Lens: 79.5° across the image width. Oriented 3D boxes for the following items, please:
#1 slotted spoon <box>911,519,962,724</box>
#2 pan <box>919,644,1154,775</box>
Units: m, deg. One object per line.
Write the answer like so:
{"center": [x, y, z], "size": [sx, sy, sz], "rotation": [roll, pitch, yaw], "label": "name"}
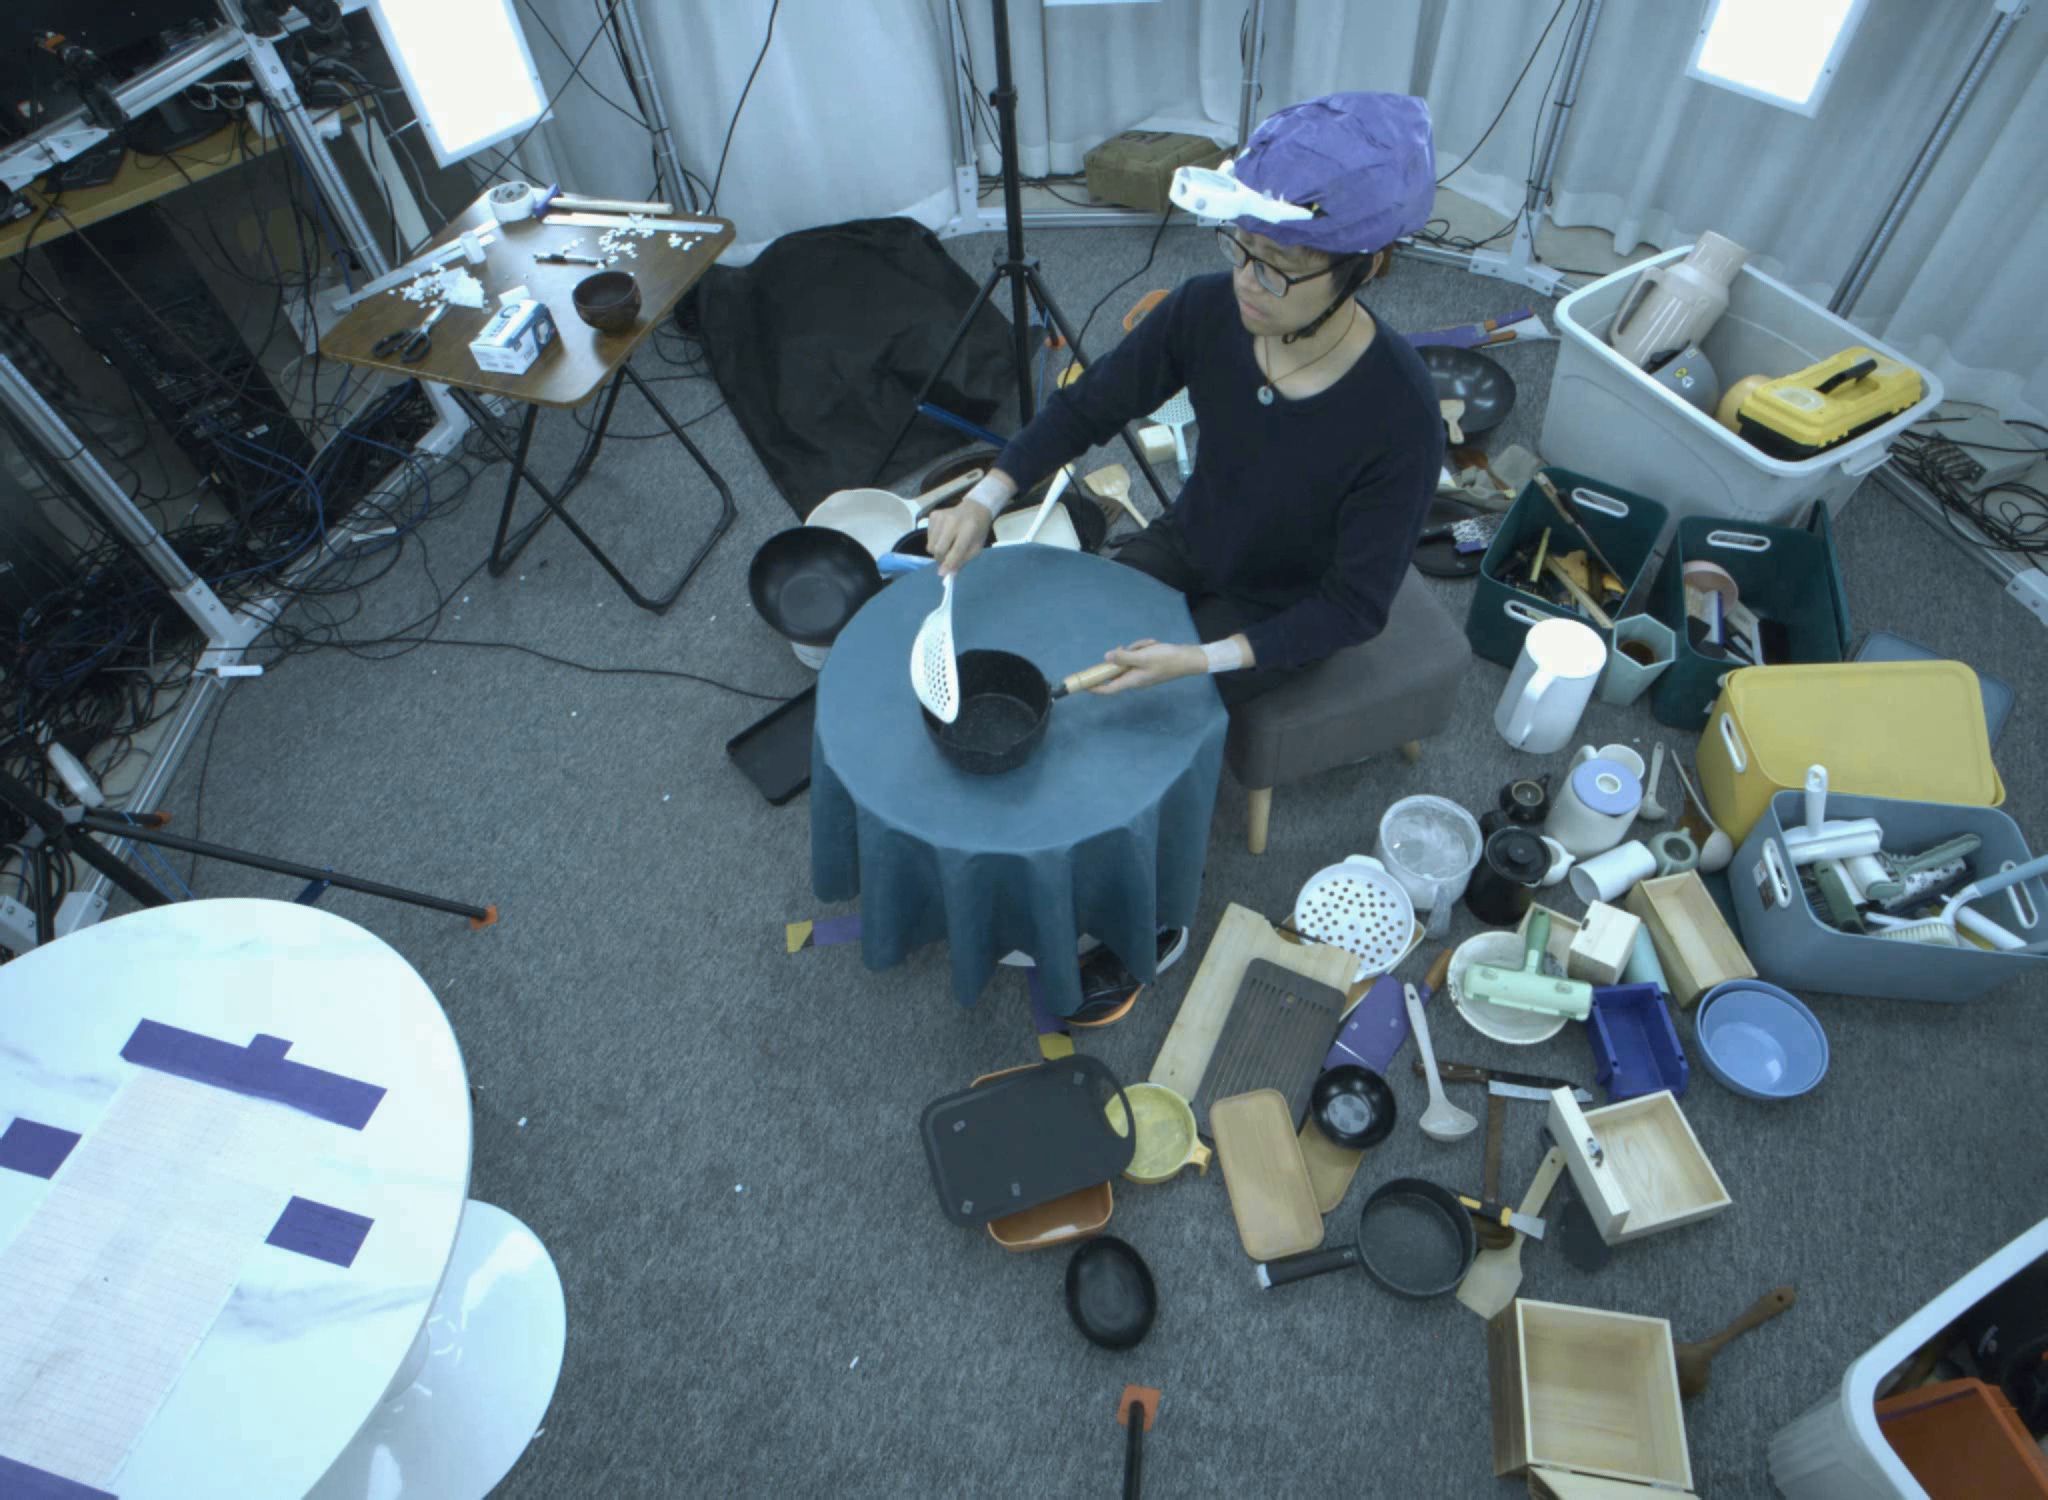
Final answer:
{"center": [-0.122, -0.194, 1.736], "size": [0.050, 0.139, 0.345], "rotation": [-6, 57, 18], "label": "slotted spoon"}
{"center": [0.022, -0.075, 1.773], "size": [0.344, 0.109, 0.204], "rotation": [-15, 54, -6], "label": "pan"}
